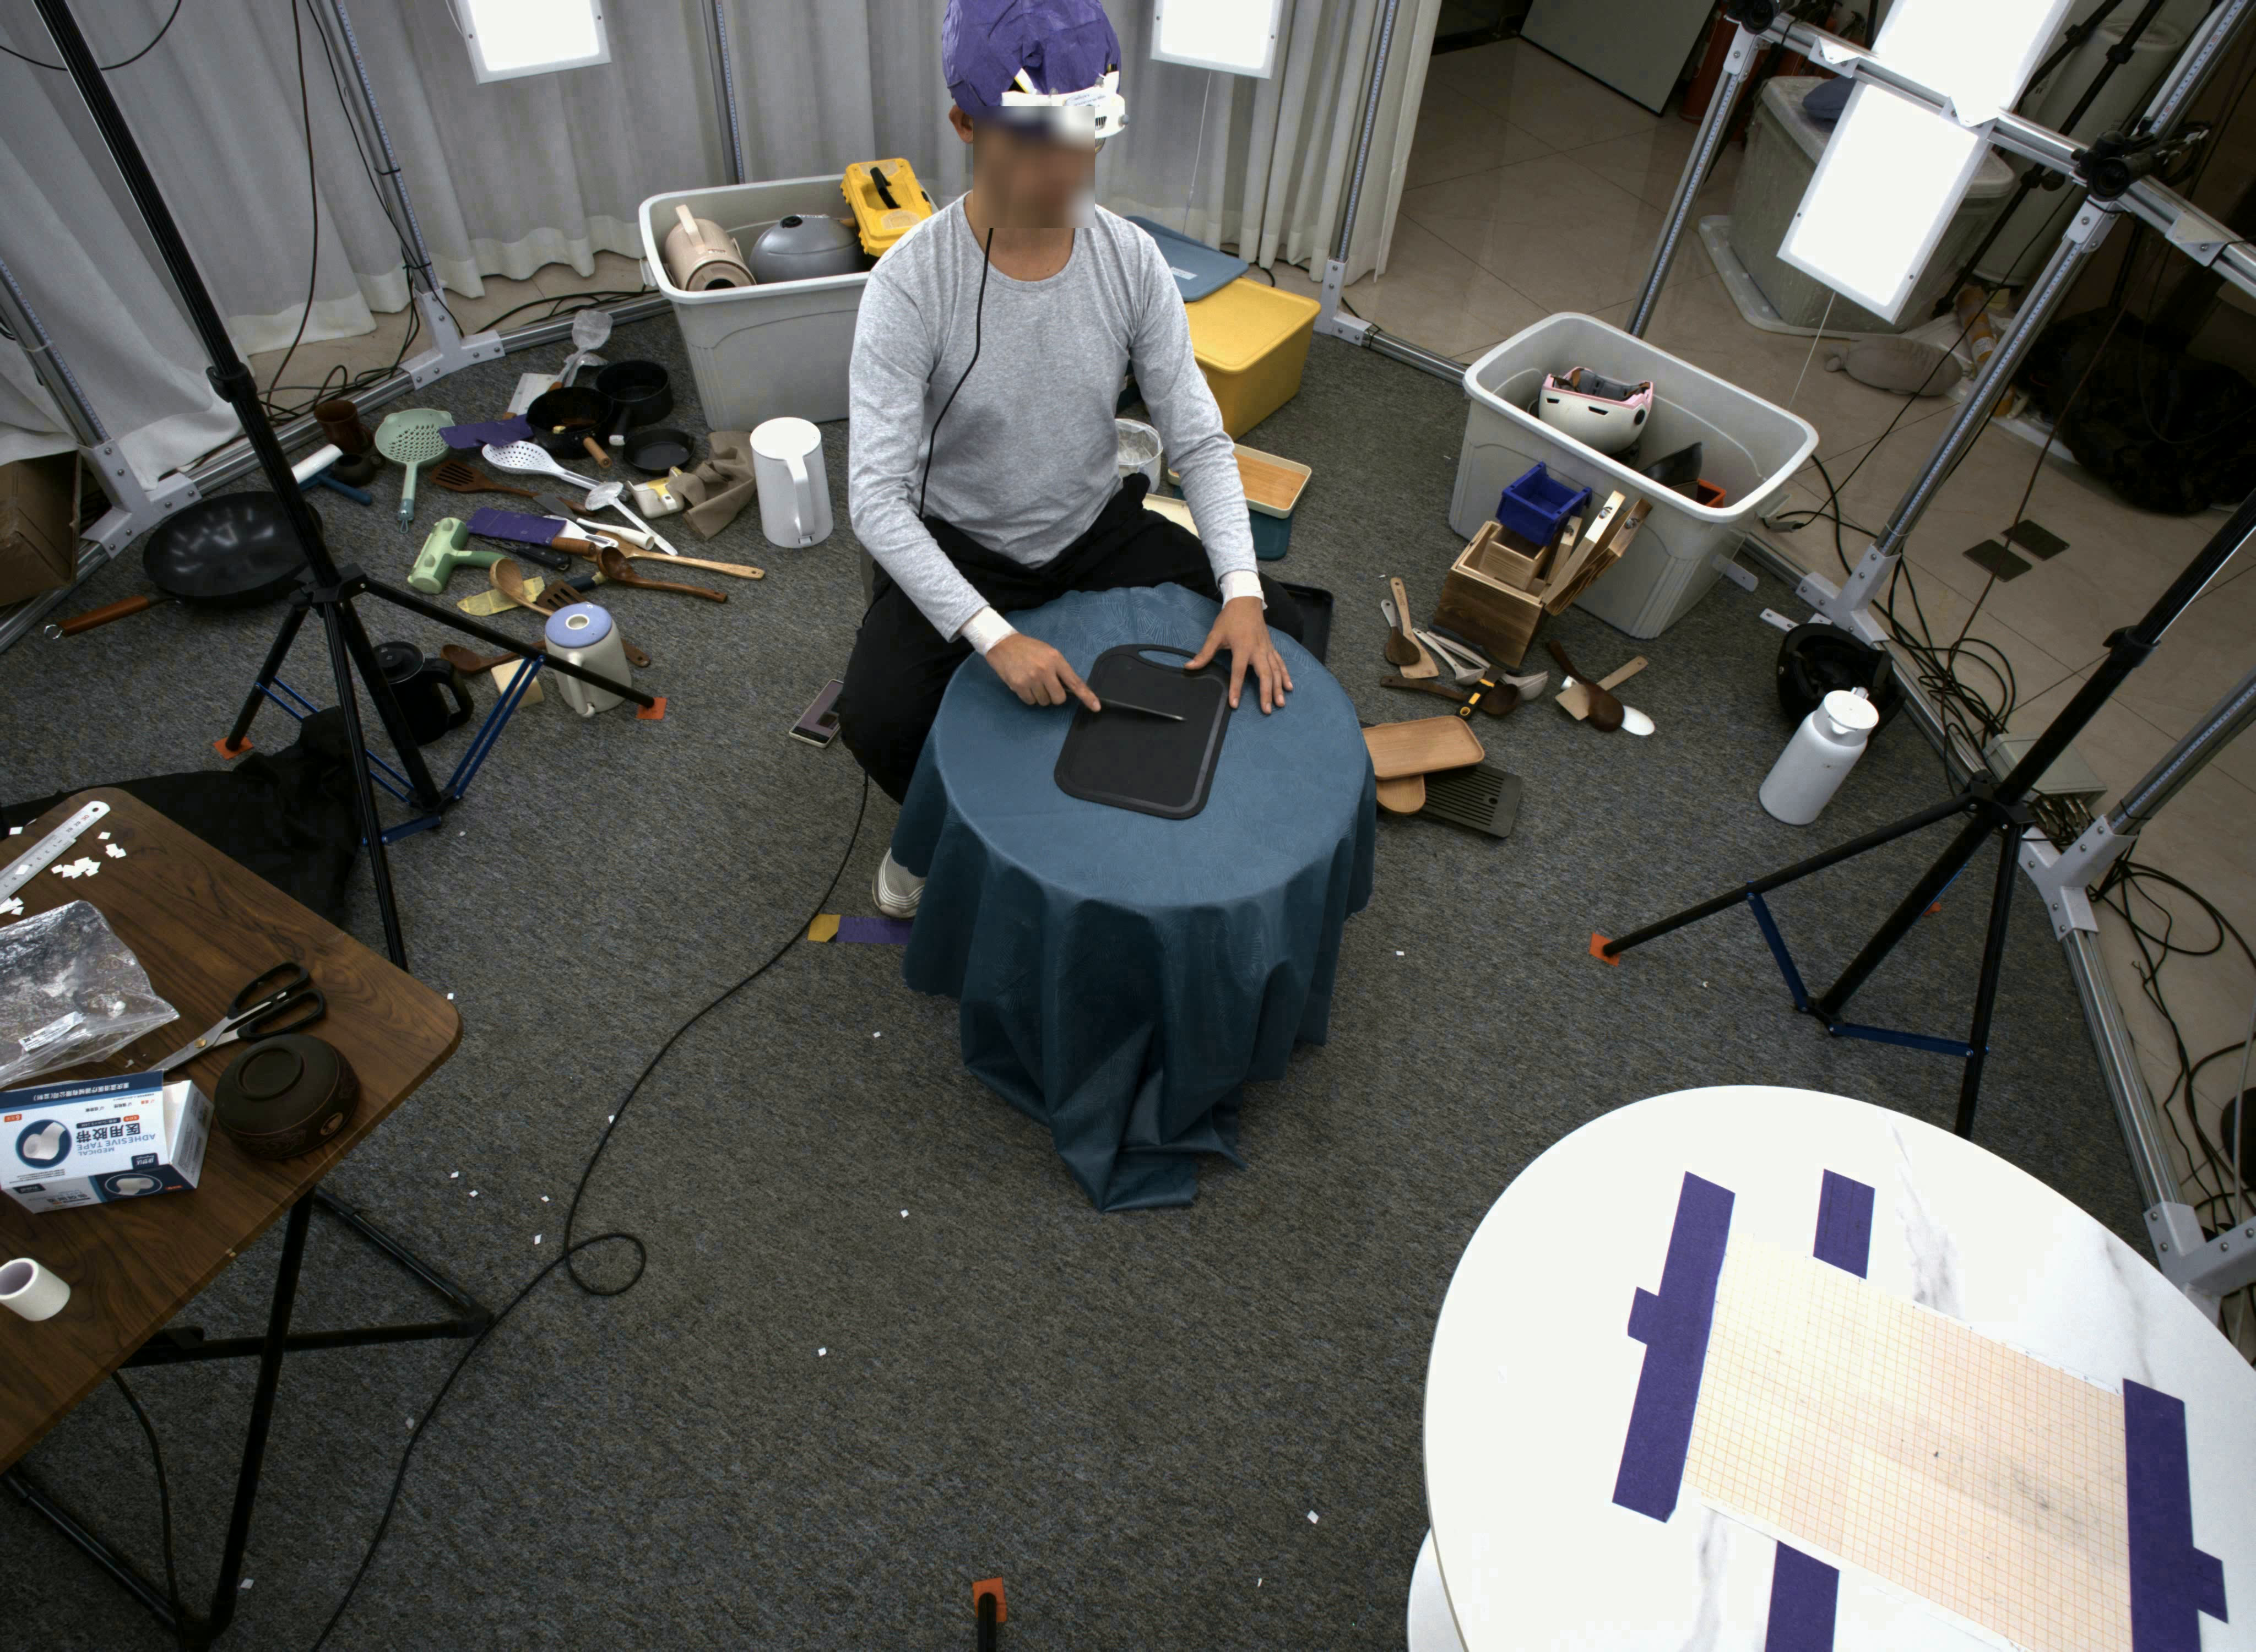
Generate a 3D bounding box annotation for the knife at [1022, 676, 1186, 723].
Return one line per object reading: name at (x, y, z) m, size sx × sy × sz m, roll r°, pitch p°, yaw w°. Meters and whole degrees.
knife at (-0.033, -0.174, 1.793) m, size 0.238 × 0.016 × 0.024 m, roll 15°, pitch 12°, yaw -2°

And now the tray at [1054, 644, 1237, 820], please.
tray at (0.031, -0.145, 1.791) m, size 0.211 × 0.009 × 0.332 m, roll 13°, pitch 49°, yaw 7°
